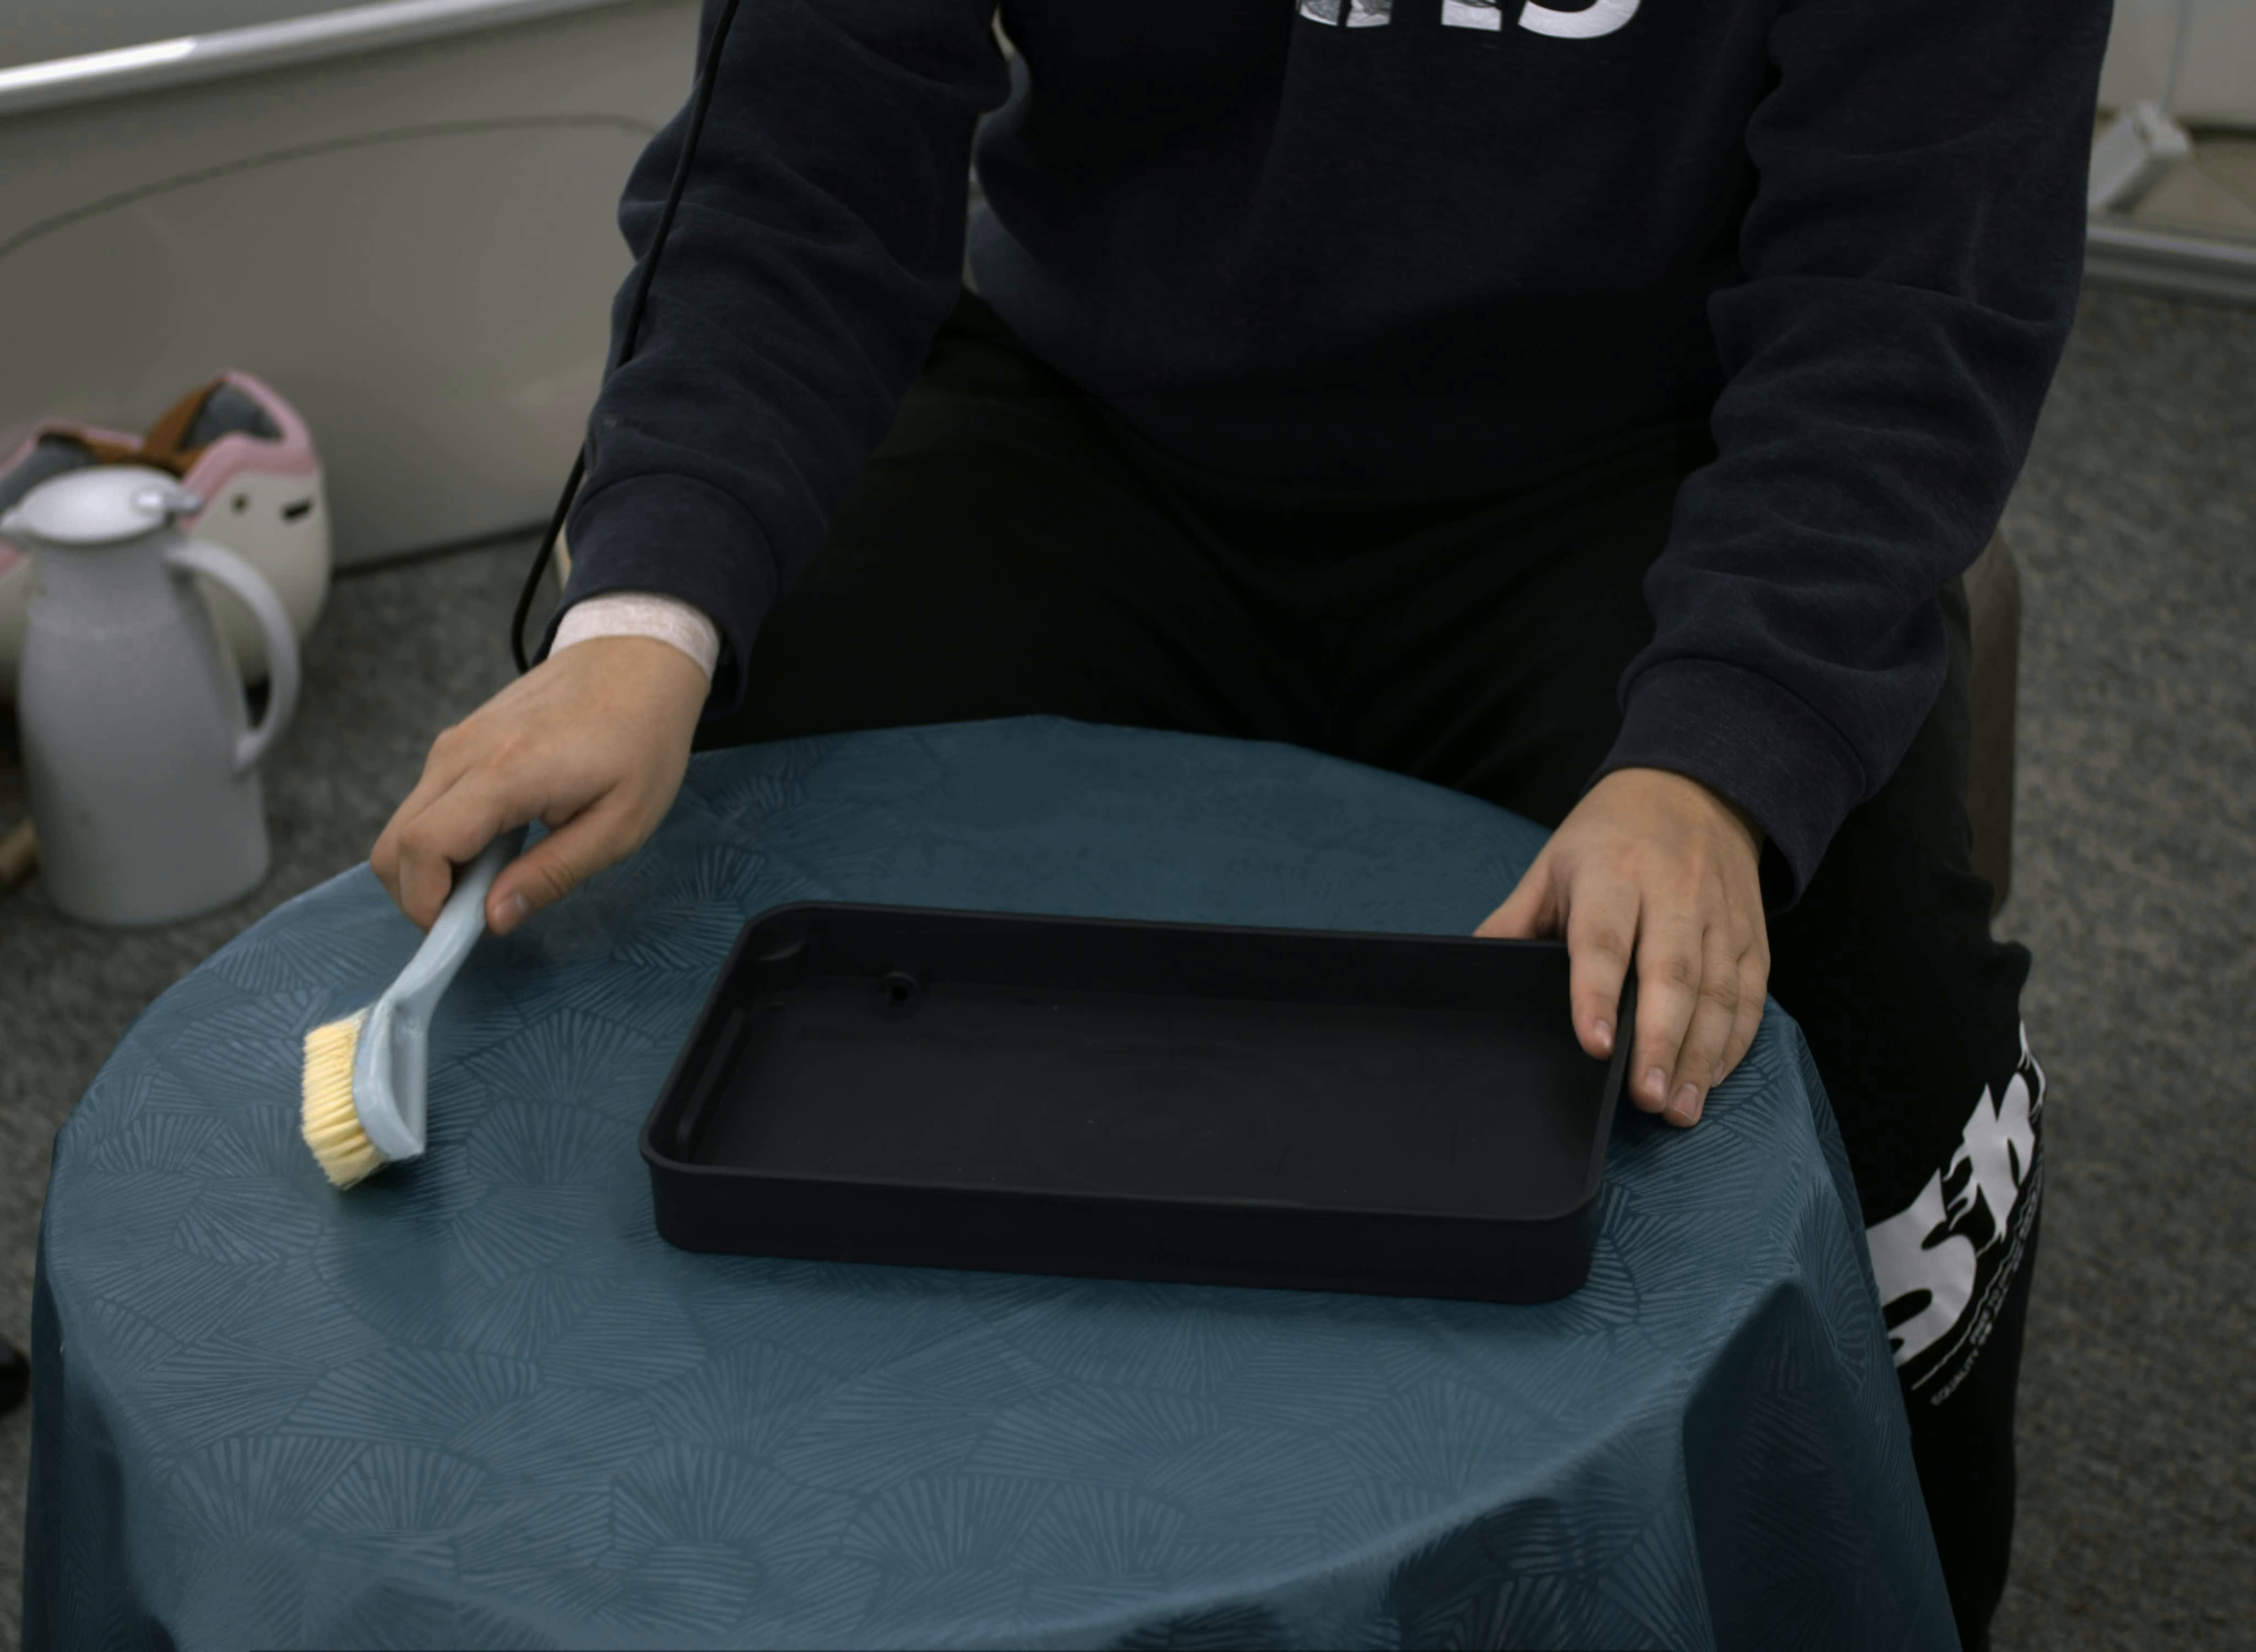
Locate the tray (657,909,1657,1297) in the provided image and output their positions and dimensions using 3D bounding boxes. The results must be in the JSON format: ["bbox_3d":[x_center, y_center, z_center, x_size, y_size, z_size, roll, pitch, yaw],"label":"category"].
[{"bbox_3d":[0.014,0.091,1.885,0.316,0.036,0.187,2,27,9],"label":"tray"}]

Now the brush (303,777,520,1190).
[{"bbox_3d":[-0.251,0.051,1.966,0.049,0.037,0.233,-18,29,18],"label":"brush"}]
